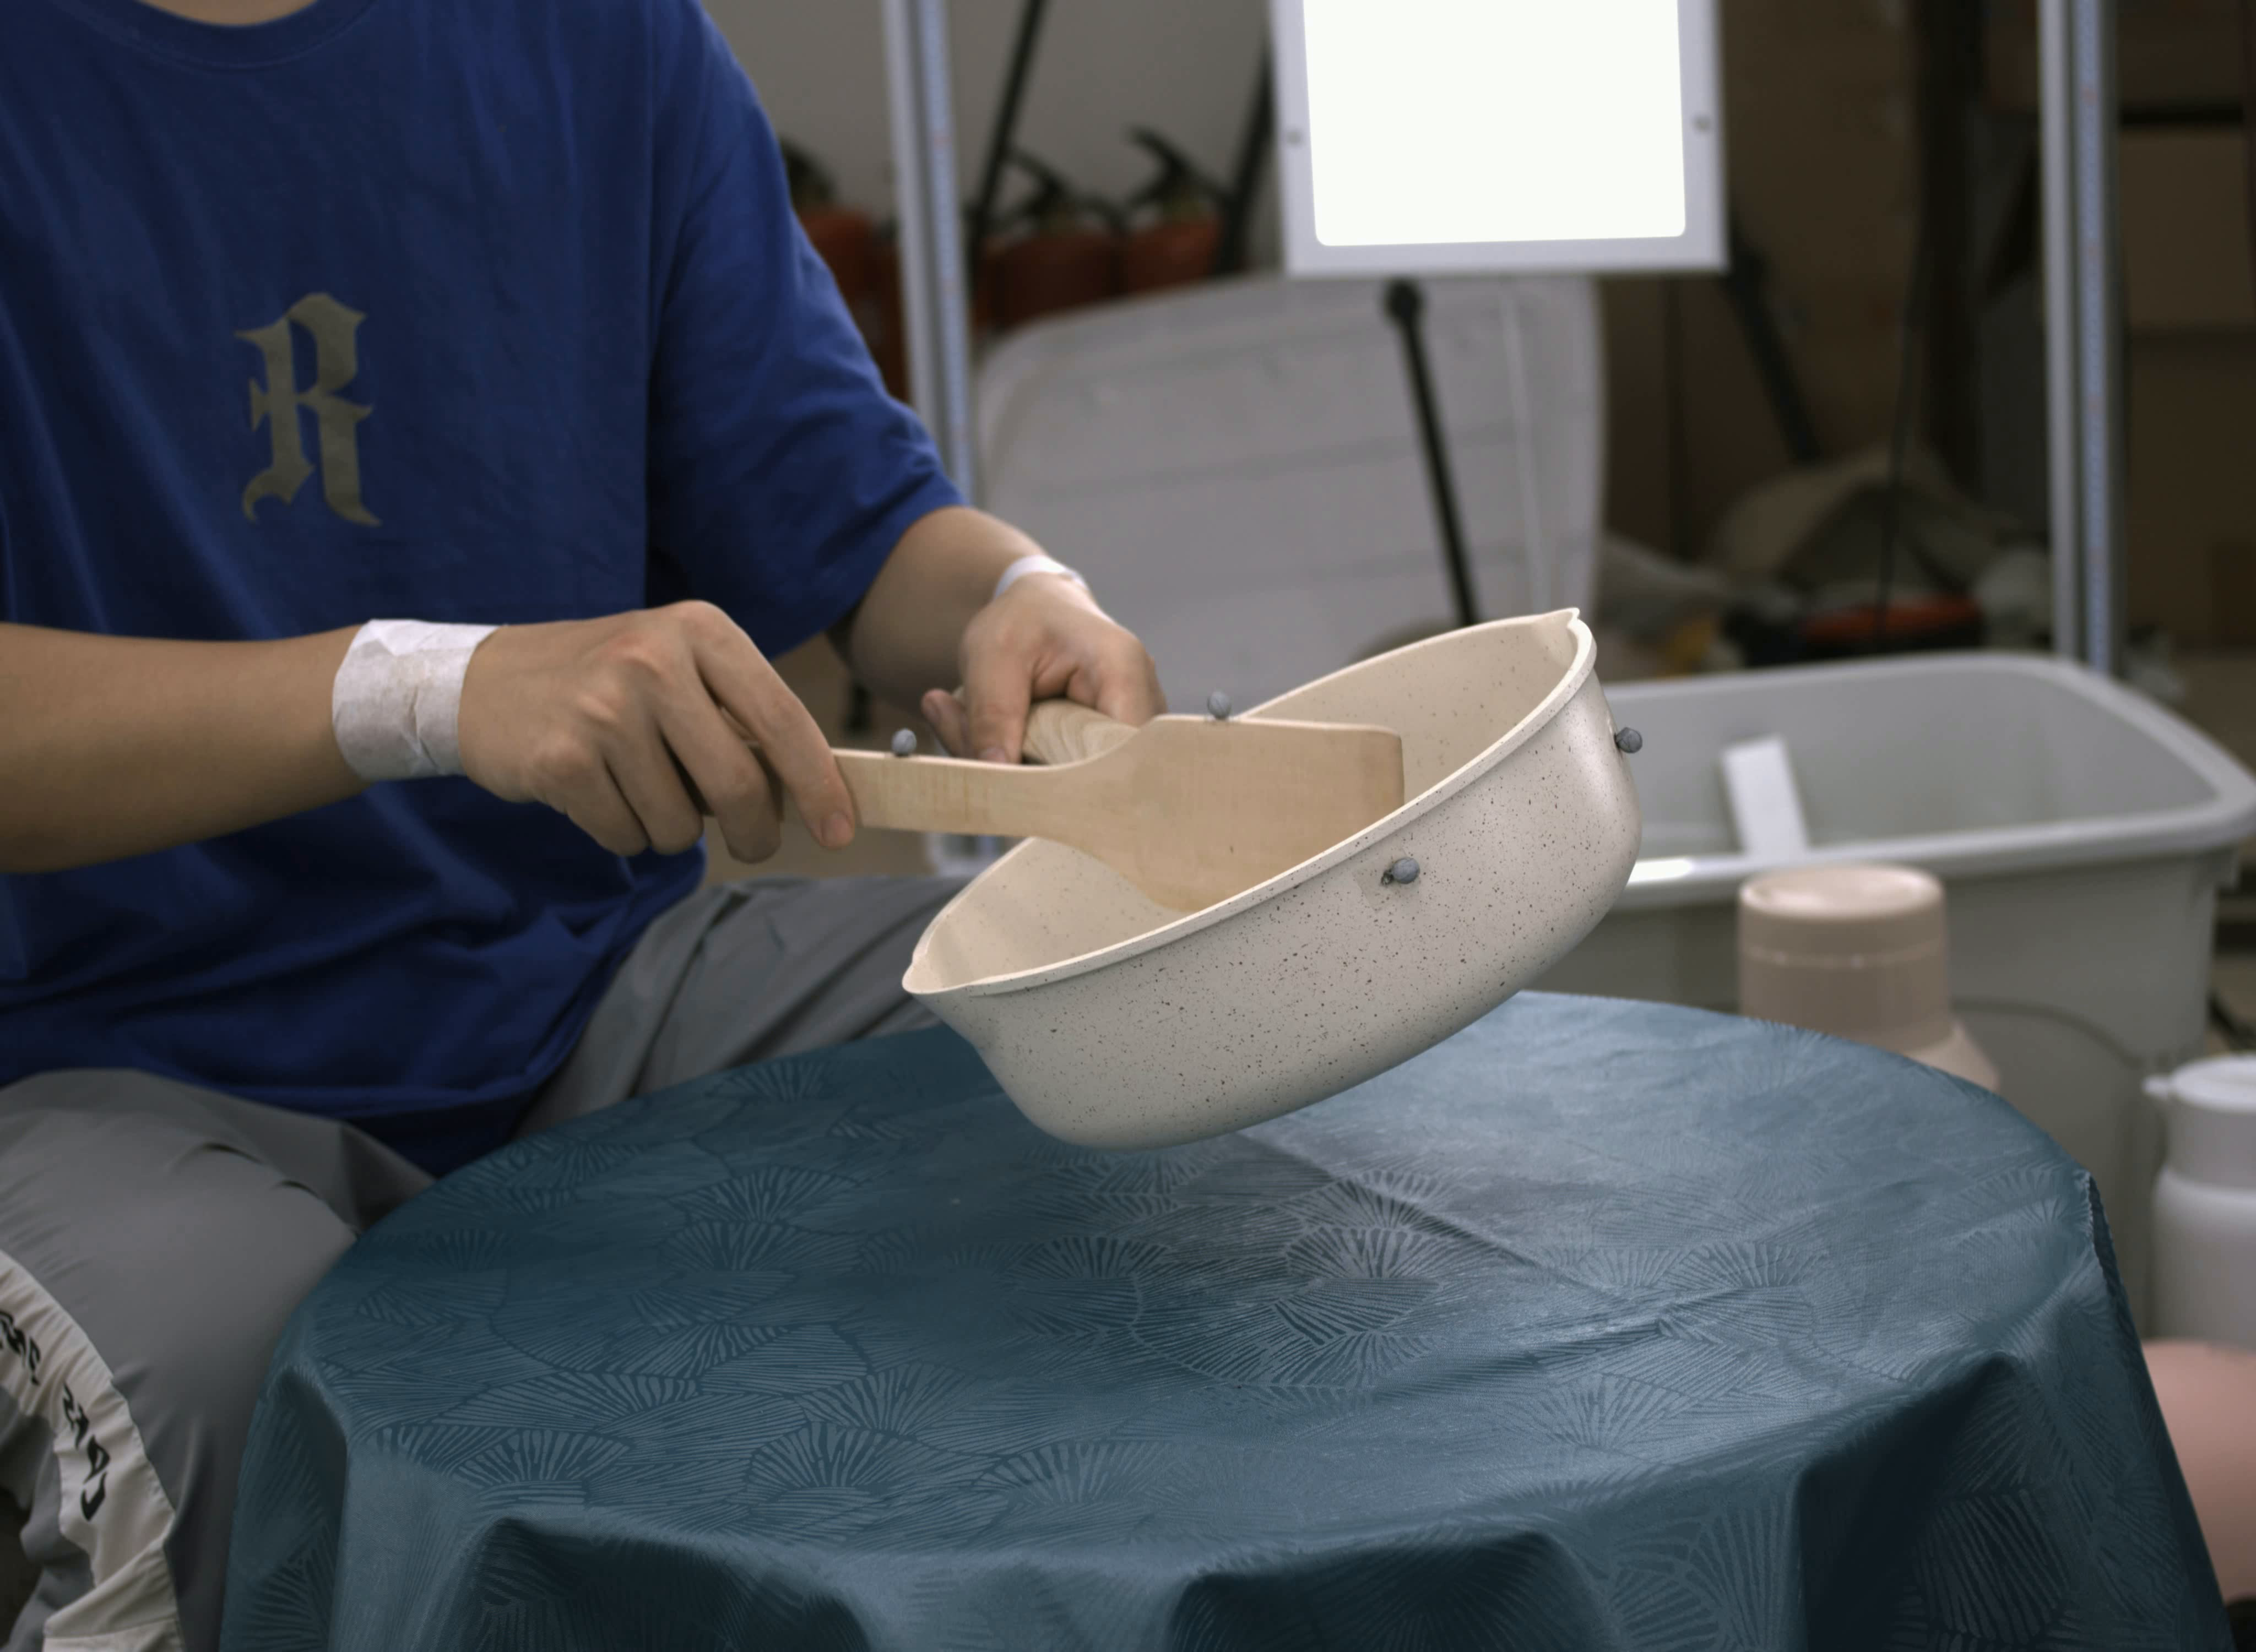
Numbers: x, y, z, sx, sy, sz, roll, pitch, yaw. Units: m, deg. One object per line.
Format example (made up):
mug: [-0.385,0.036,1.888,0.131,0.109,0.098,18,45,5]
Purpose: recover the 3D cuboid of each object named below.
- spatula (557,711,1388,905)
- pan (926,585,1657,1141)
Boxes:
spatula: [-0.055,-0.012,1.862,0.296,0.072,0.010,4,22,16]
pan: [0.030,0.007,1.914,0.260,0.102,0.440,-32,12,-13]
